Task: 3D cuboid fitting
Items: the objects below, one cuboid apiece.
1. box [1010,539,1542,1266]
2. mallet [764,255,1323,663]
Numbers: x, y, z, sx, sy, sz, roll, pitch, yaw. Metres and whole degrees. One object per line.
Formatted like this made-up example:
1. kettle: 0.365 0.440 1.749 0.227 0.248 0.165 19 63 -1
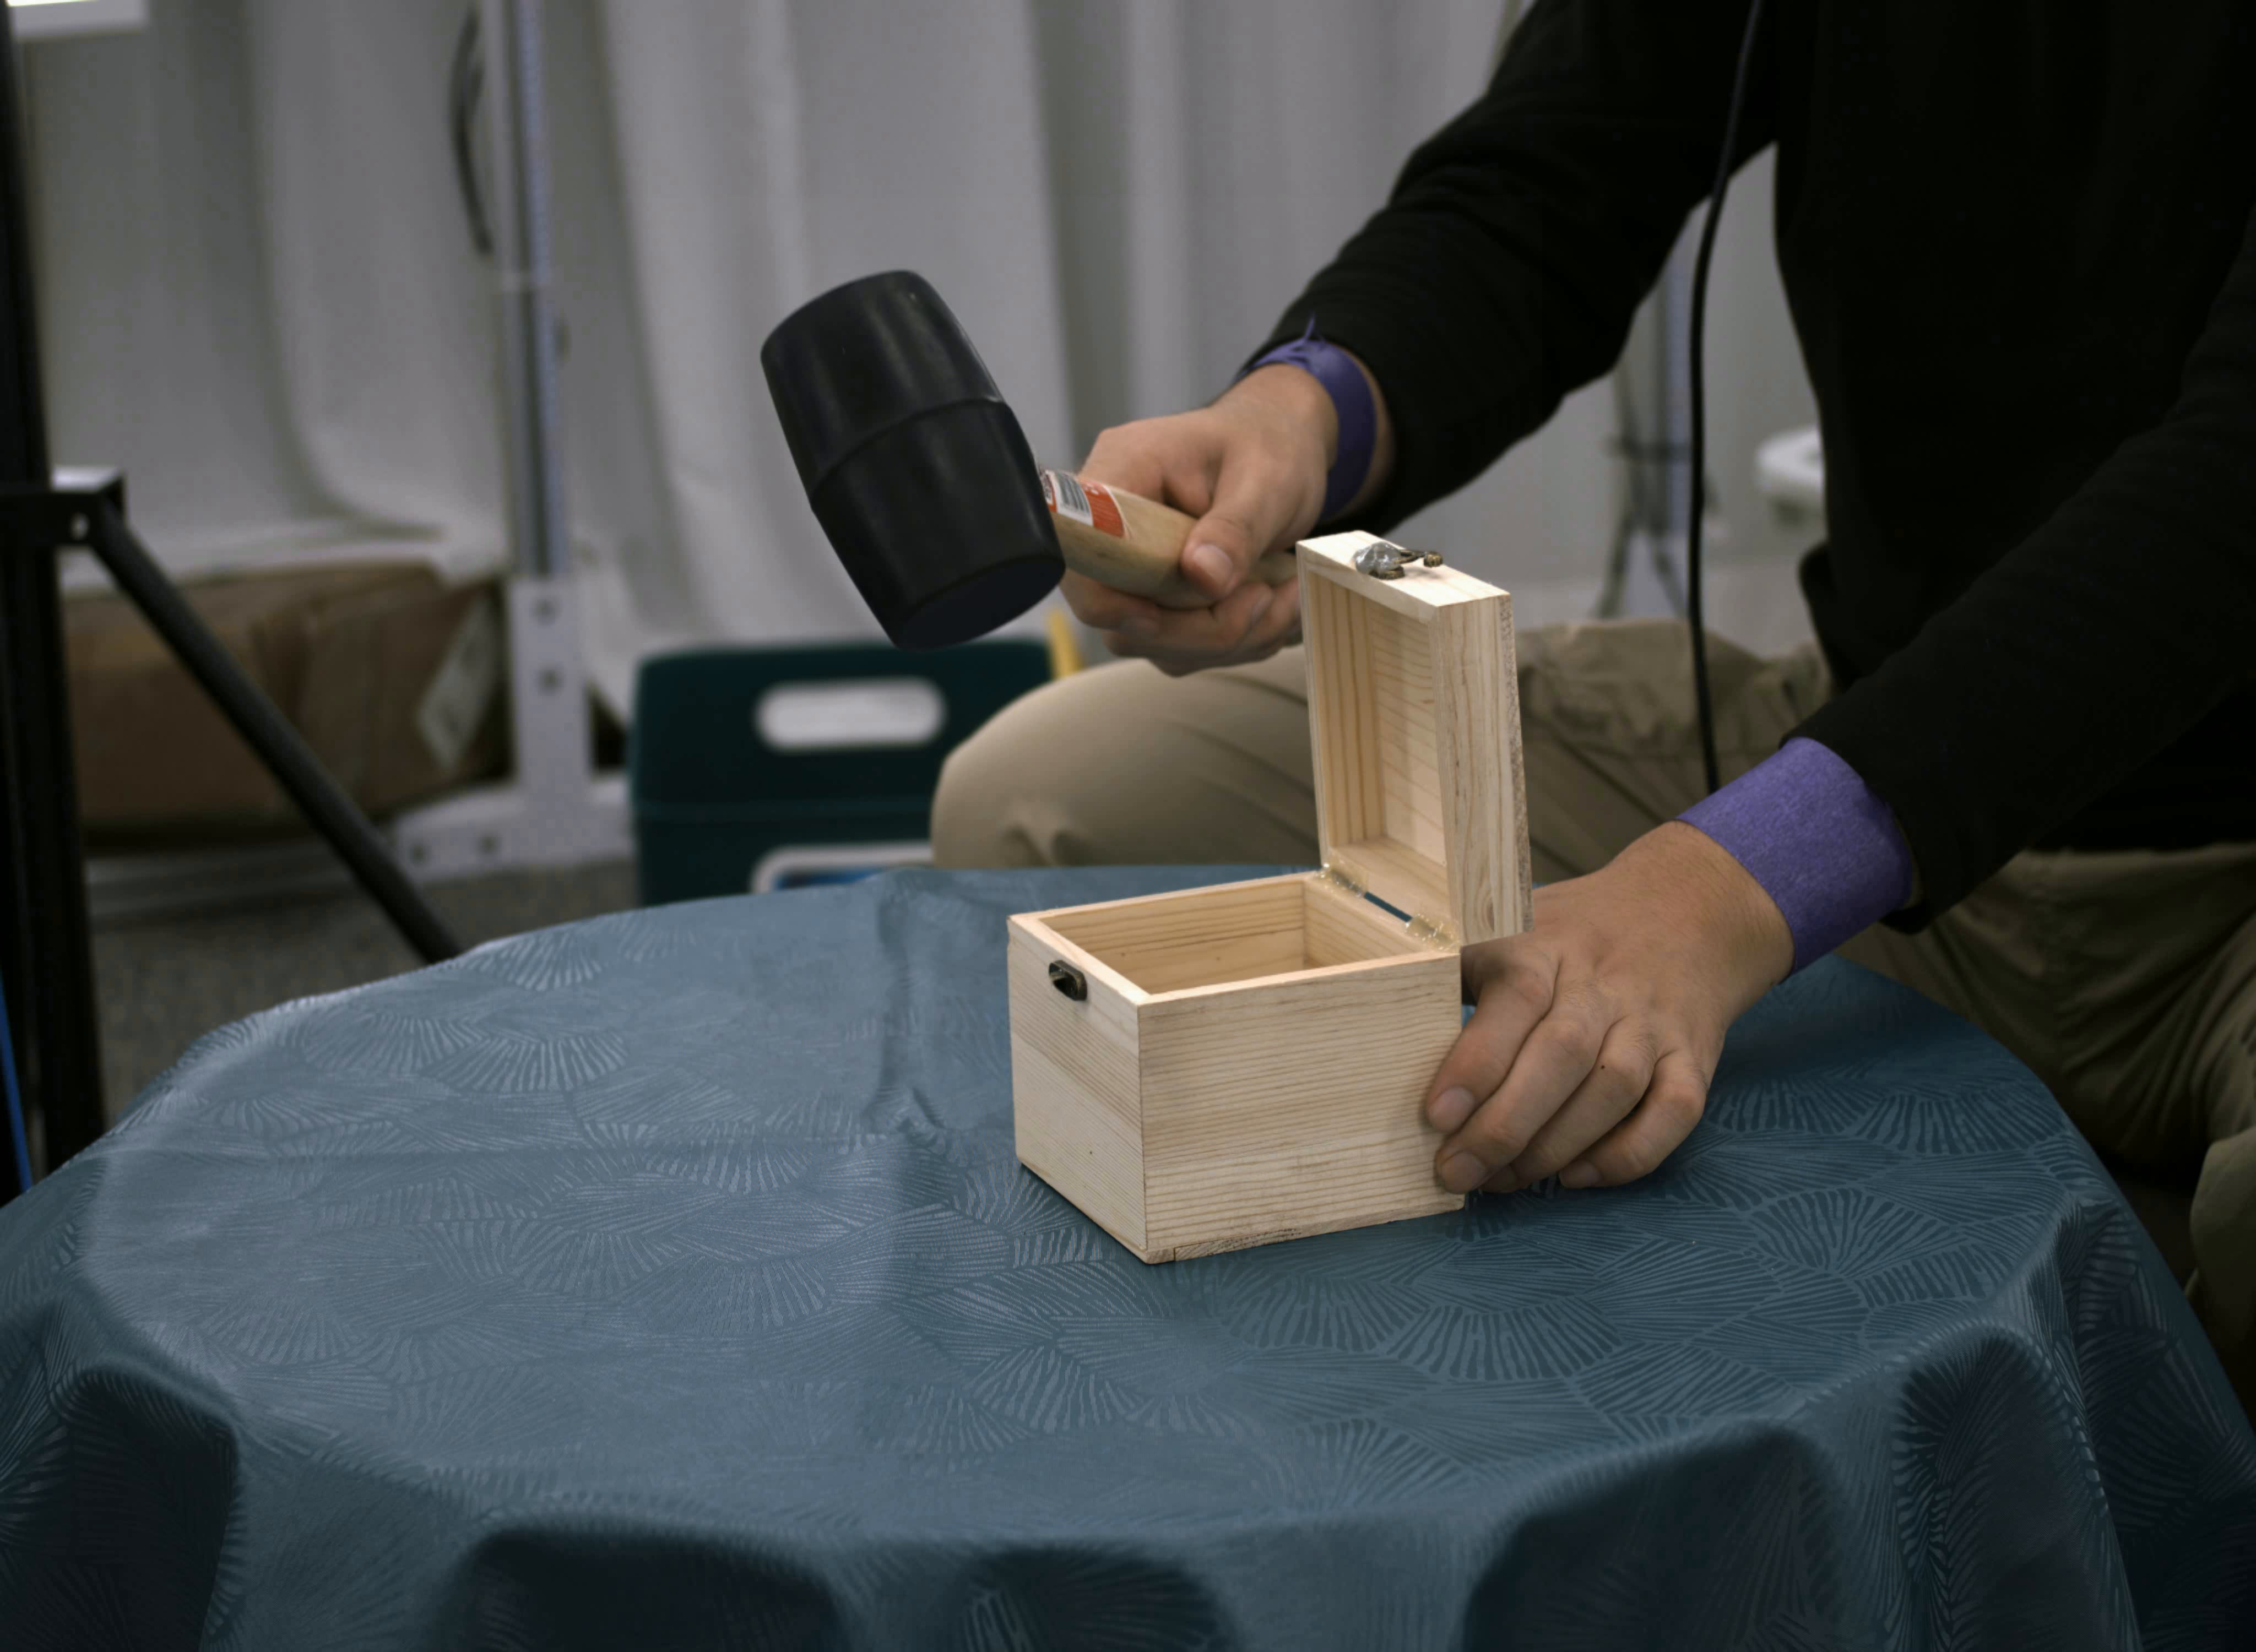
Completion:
1. box: 0.040 0.018 1.536 0.131 0.184 0.104 -5 16 -21
2. mallet: -0.005 -0.095 1.651 0.065 0.103 0.331 -26 -17 21
